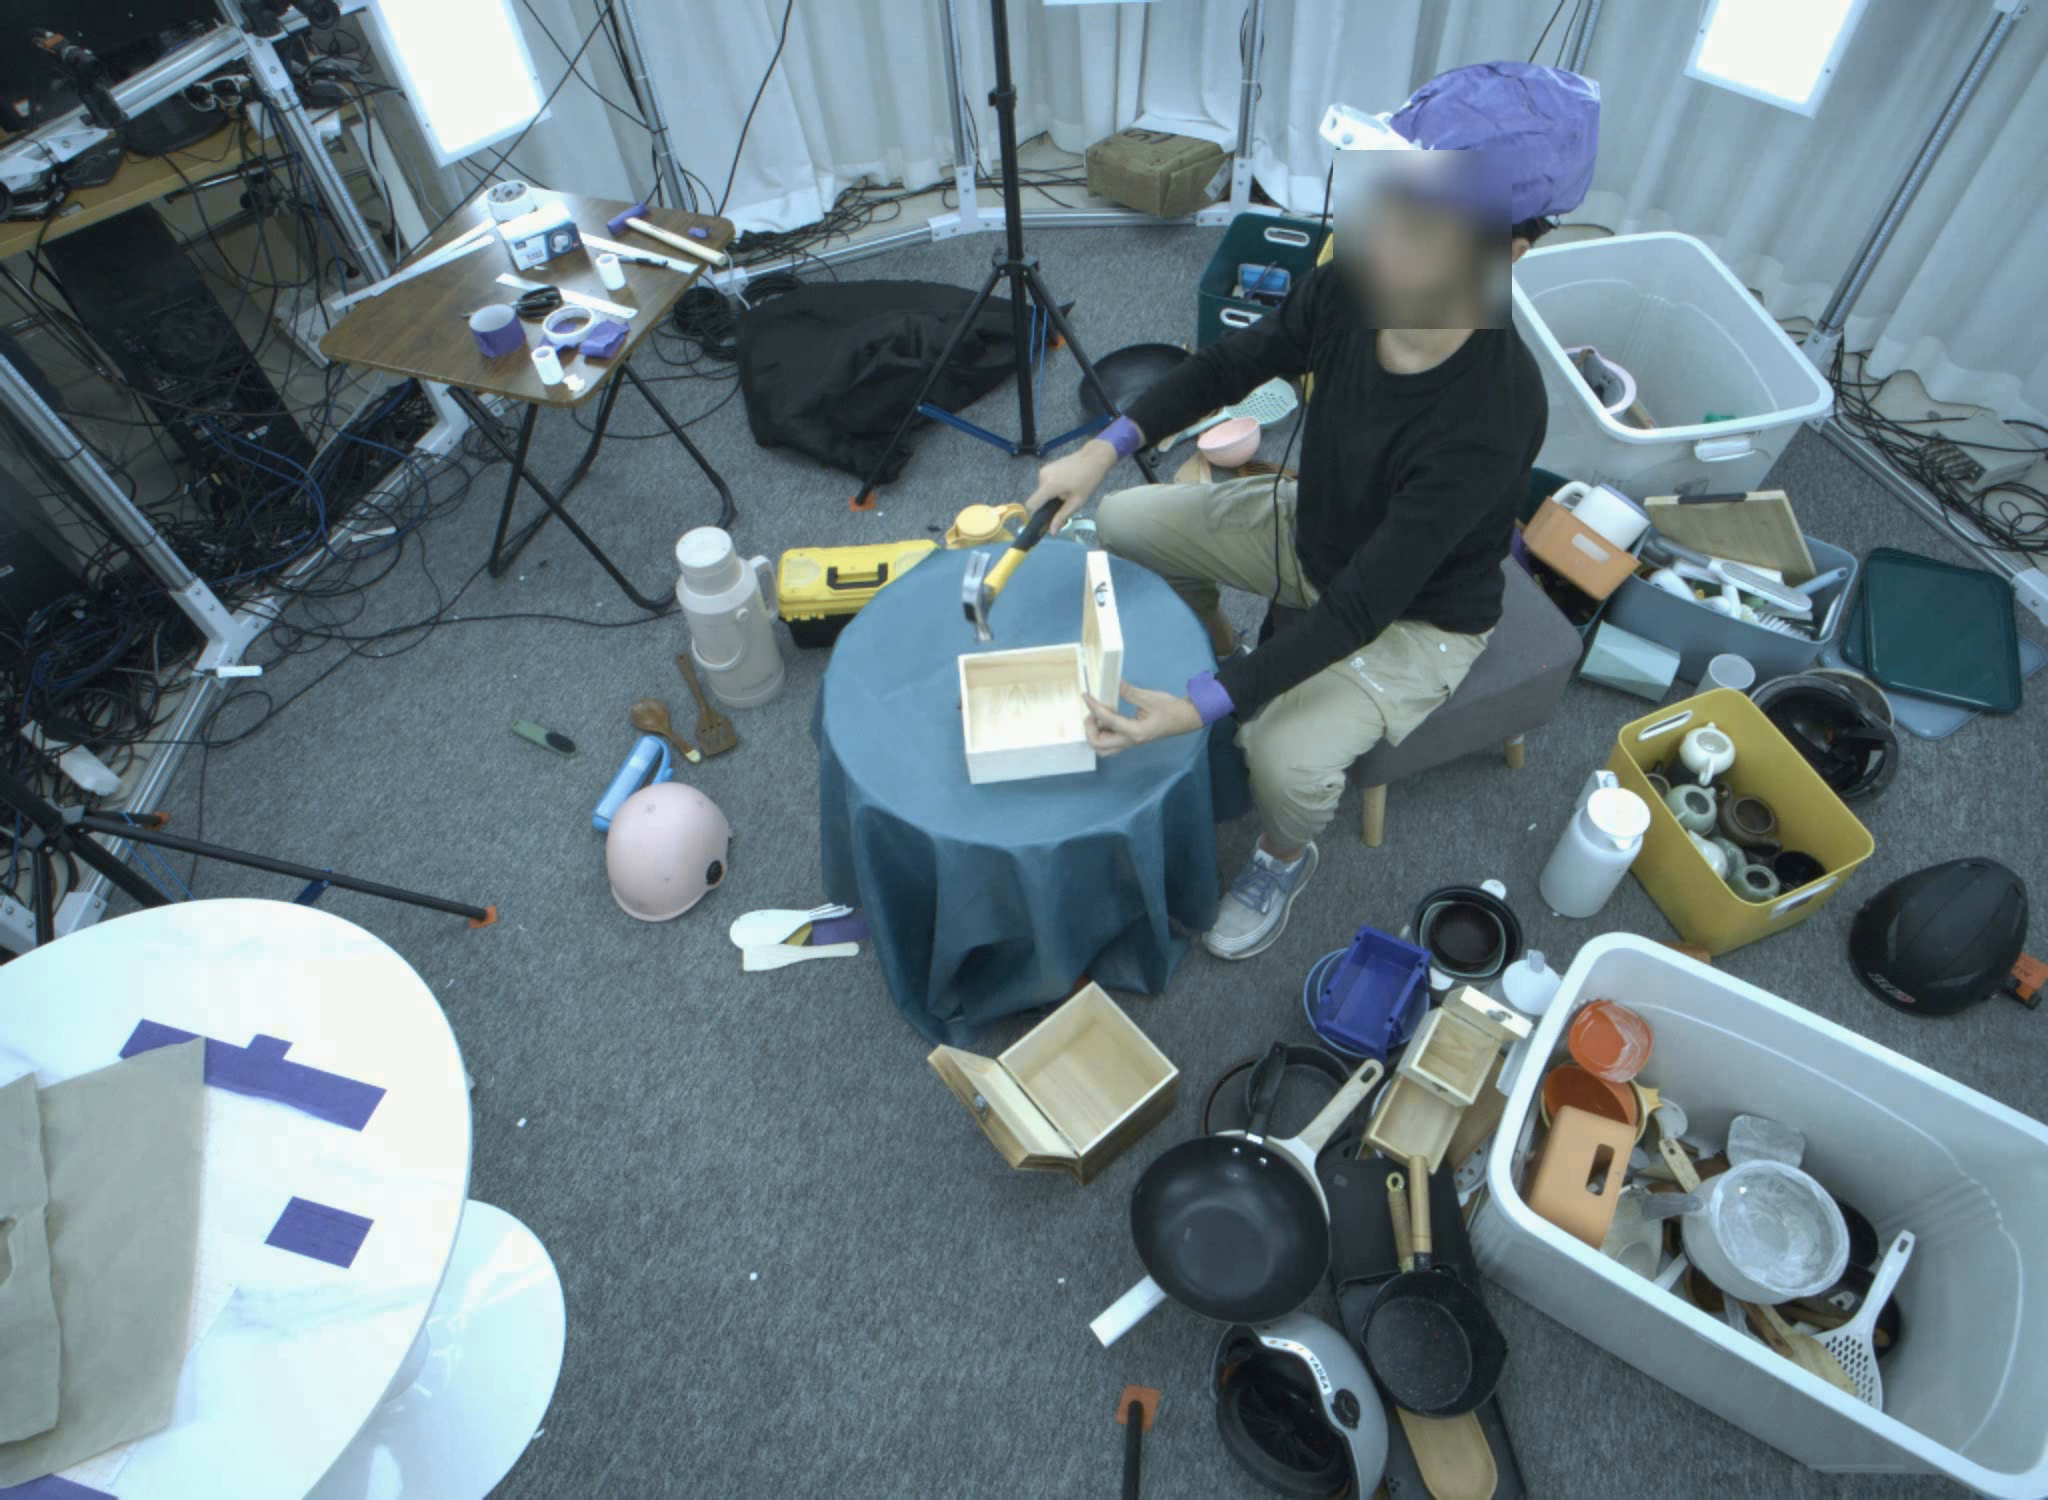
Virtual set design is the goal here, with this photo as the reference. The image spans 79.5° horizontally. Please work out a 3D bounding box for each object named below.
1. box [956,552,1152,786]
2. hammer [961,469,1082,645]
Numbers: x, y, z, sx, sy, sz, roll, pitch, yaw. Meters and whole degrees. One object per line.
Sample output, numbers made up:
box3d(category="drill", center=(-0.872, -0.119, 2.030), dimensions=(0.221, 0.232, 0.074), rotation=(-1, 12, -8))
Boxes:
box3d(category="box", center=(0.031, -0.110, 1.707), dimensions=(0.266, 0.256, 0.179), rotation=(-7, 52, -2))
box3d(category="hammer", center=(0.002, -0.311, 1.818), dimensions=(0.032, 0.133, 0.339), rotation=(16, 53, 25))
